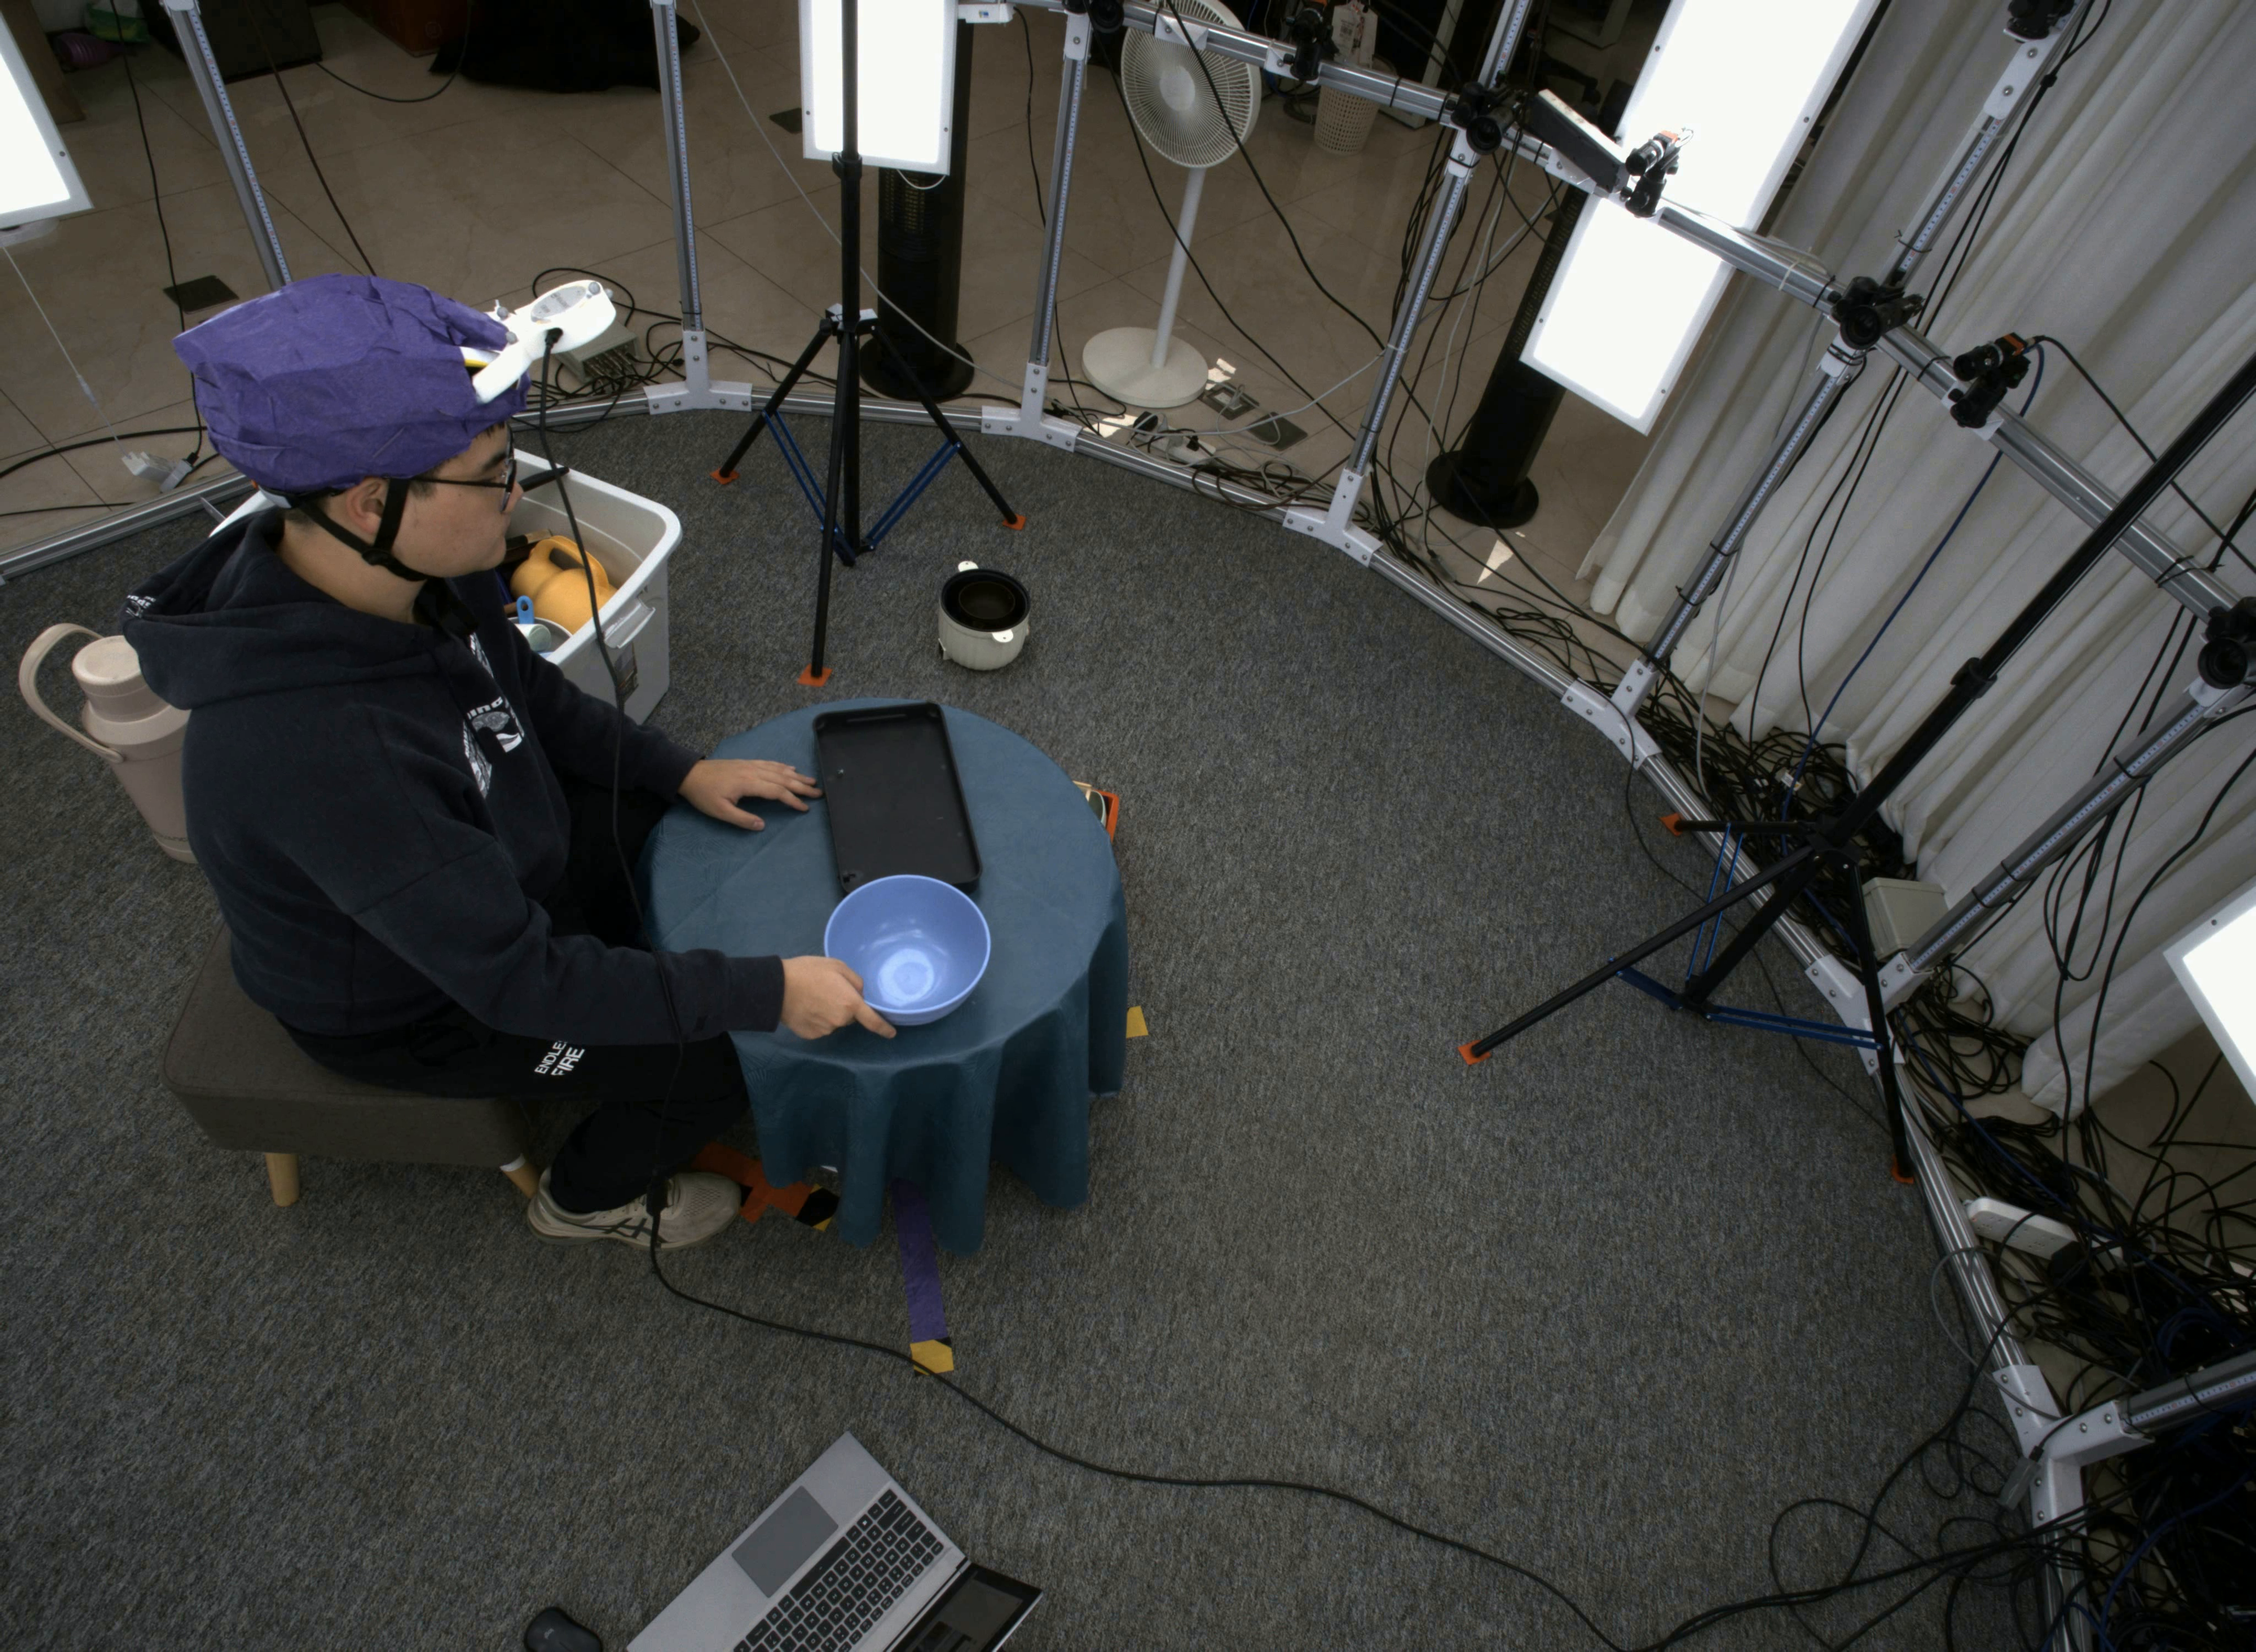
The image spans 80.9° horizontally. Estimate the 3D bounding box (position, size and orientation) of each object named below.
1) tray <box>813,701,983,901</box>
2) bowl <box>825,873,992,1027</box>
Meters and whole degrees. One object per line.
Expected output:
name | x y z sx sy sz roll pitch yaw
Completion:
tray | -0.313 -0.034 1.749 0.185 0.038 0.310 -7 56 -18
bowl | -0.266 0.163 1.575 0.196 0.097 0.193 8 53 -9
